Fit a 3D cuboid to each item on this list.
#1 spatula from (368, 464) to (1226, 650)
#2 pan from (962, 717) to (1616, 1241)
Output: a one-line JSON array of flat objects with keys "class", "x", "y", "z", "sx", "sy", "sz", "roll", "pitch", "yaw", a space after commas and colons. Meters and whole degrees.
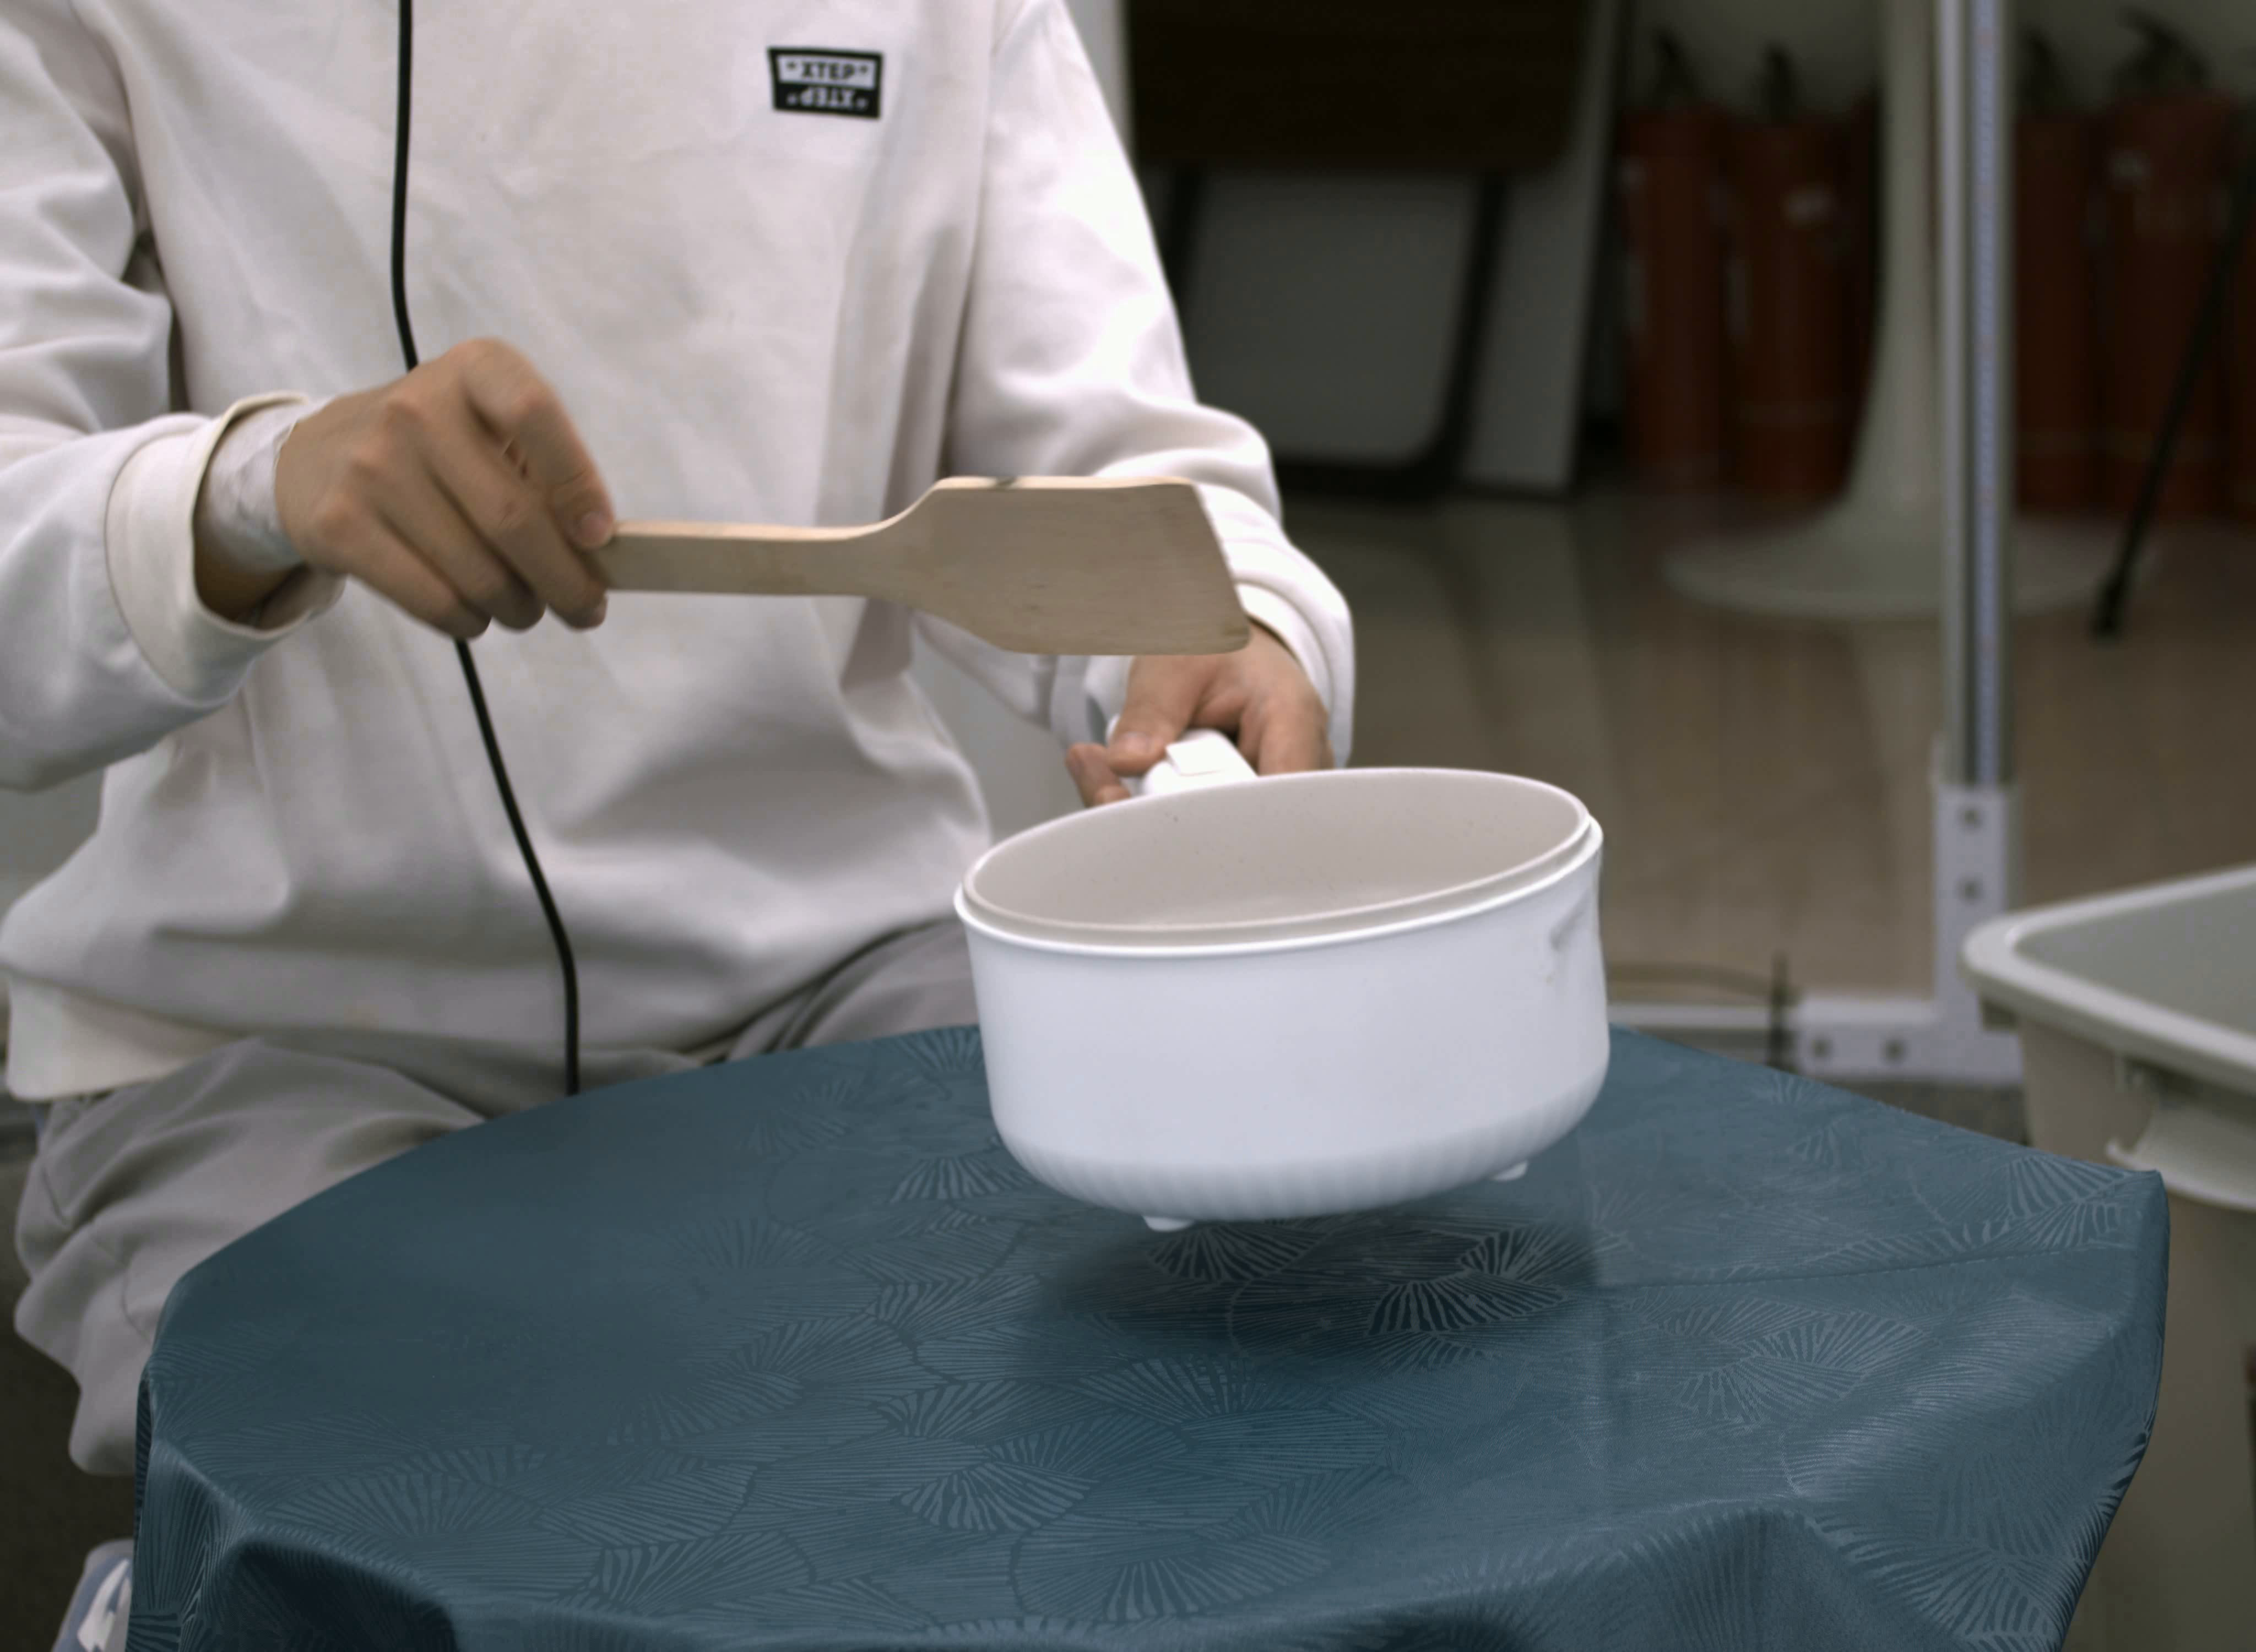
[{"class": "spatula", "x": -0.109, "y": -0.082, "z": 1.645, "sx": 0.294, "sy": 0.072, "sz": 0.010, "roll": 1, "pitch": 47, "yaw": 28}, {"class": "pan", "x": 0.043, "y": 0.042, "z": 1.737, "sx": 0.198, "sy": 0.103, "sz": 0.356, "roll": -9, "pitch": 11, "yaw": -5}]
